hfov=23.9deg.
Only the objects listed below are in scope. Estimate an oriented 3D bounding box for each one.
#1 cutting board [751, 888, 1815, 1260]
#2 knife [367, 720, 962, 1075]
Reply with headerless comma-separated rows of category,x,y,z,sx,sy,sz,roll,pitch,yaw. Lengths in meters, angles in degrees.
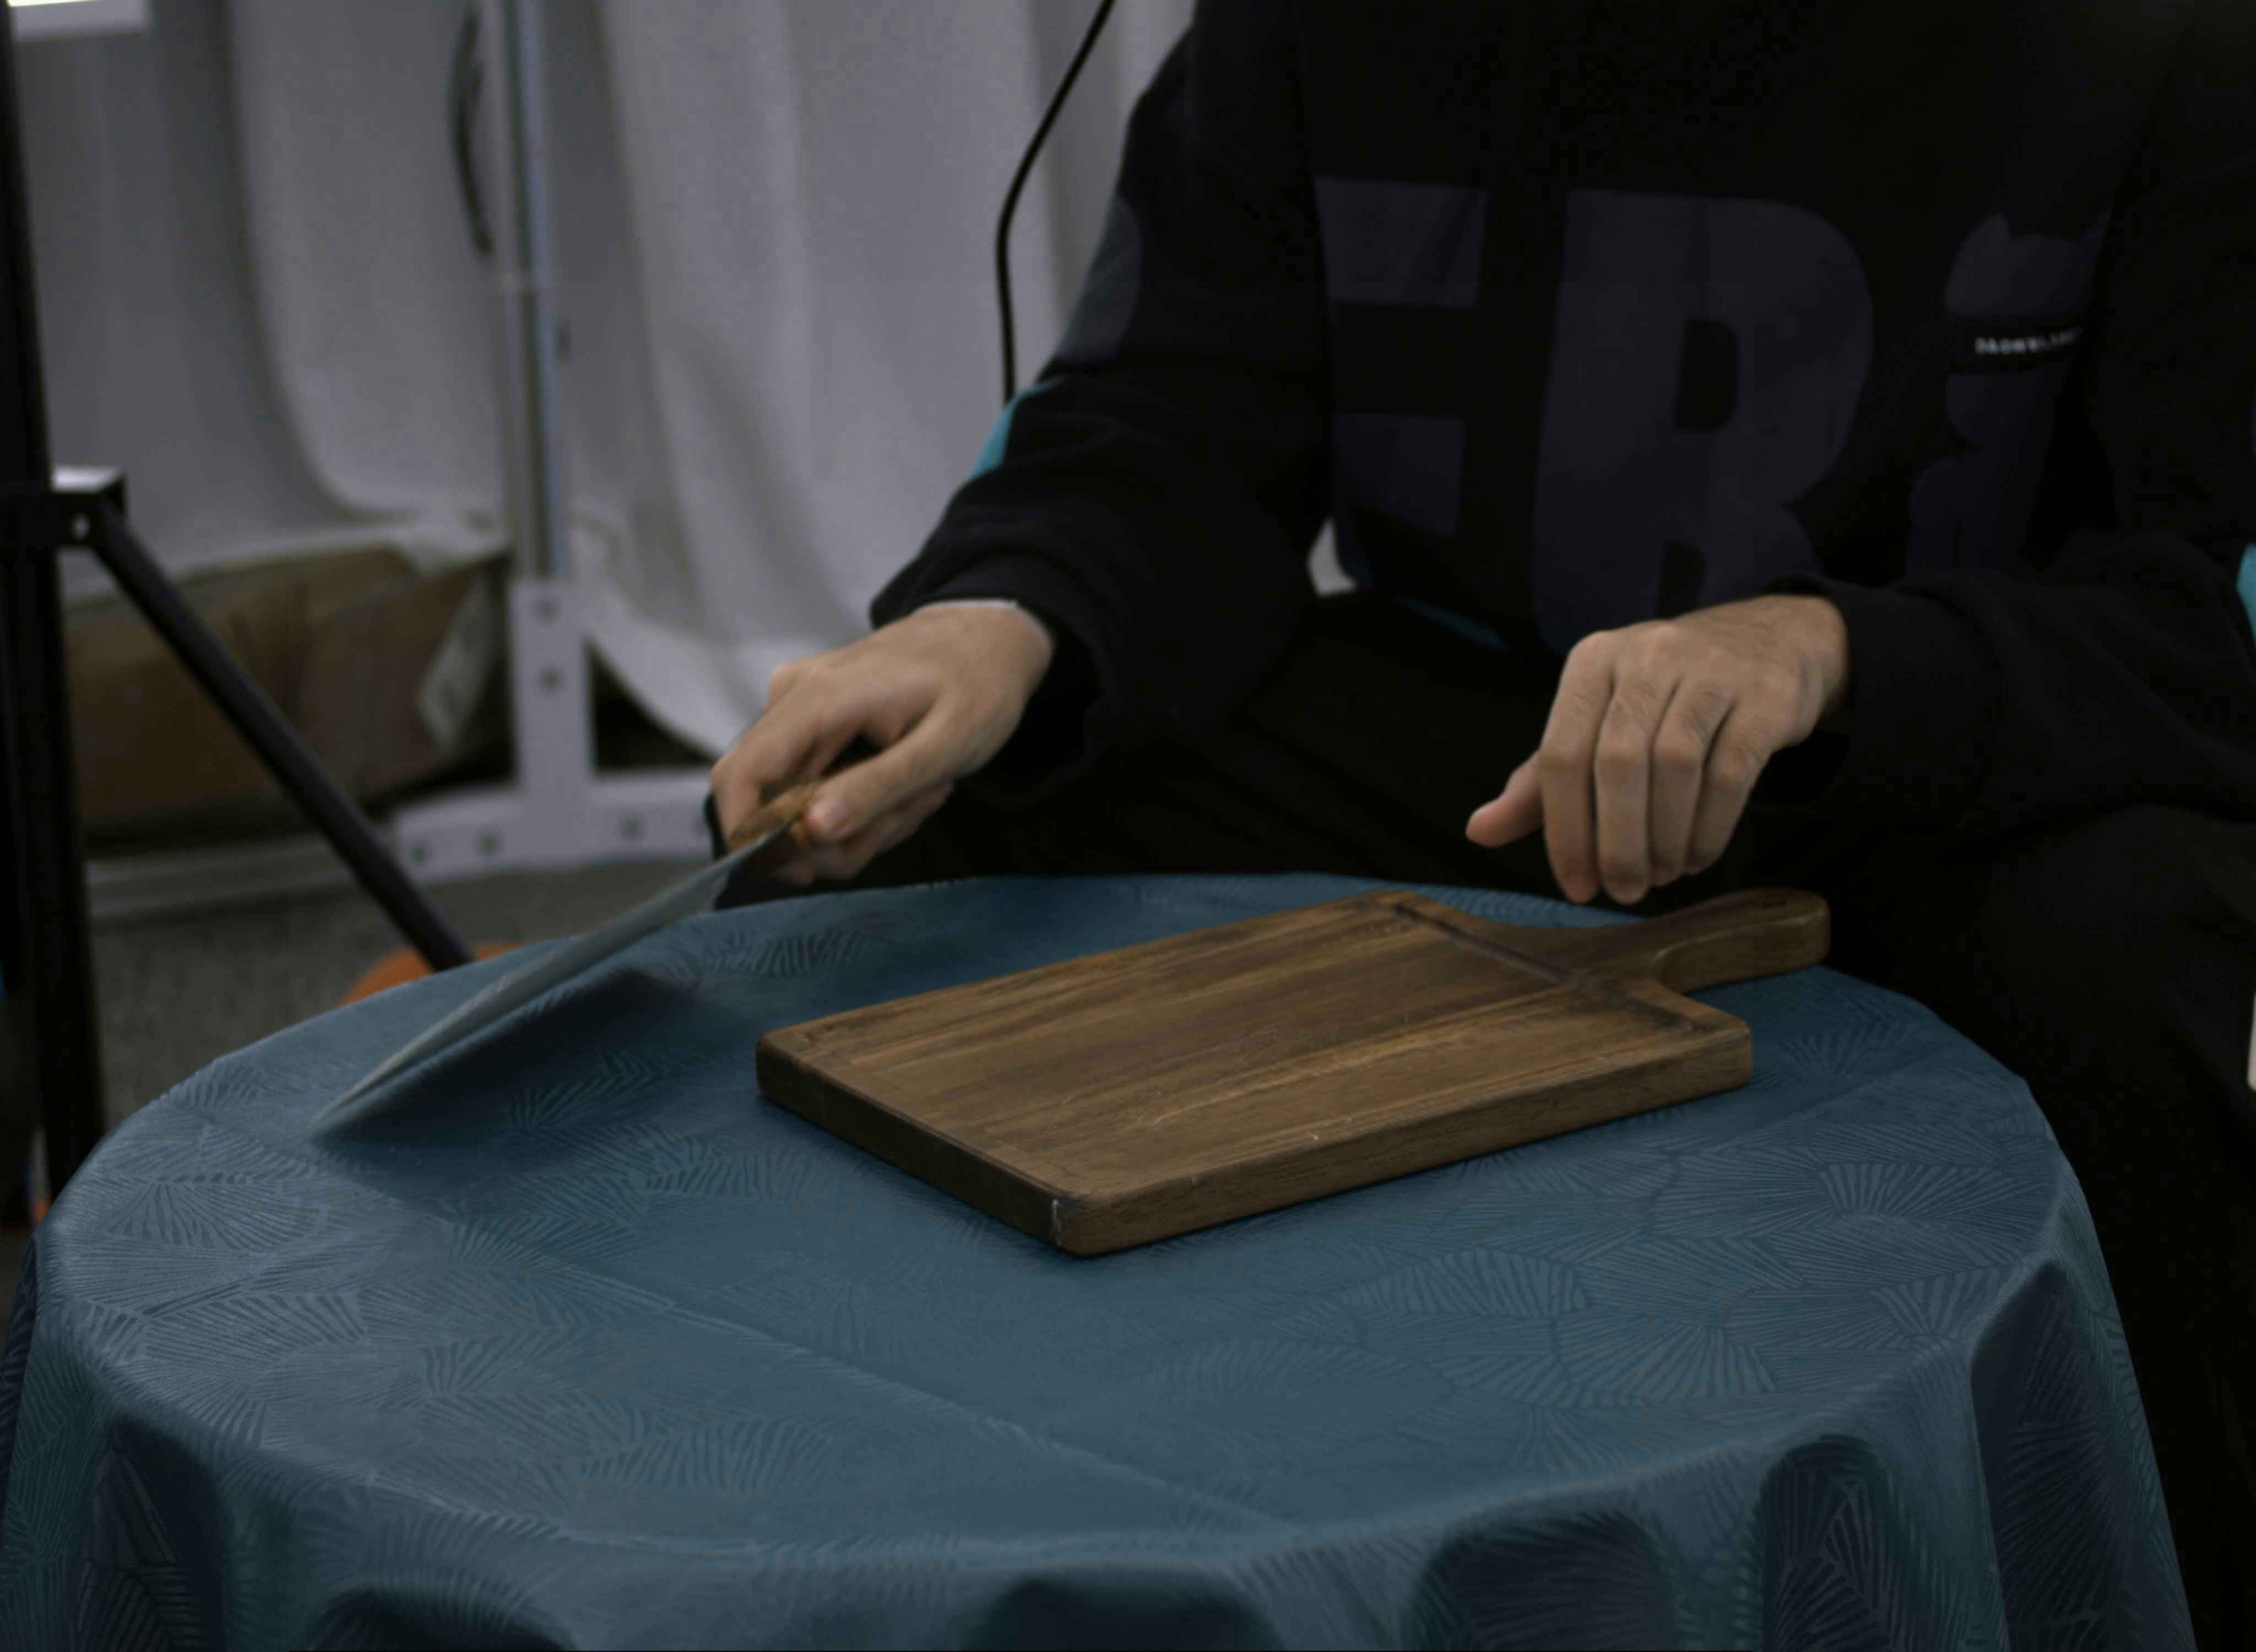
cutting board,0.078,0.064,1.663,0.344,0.023,0.205,-12,19,-30
knife,-0.151,0.025,1.745,0.094,0.021,0.301,-37,-3,30
